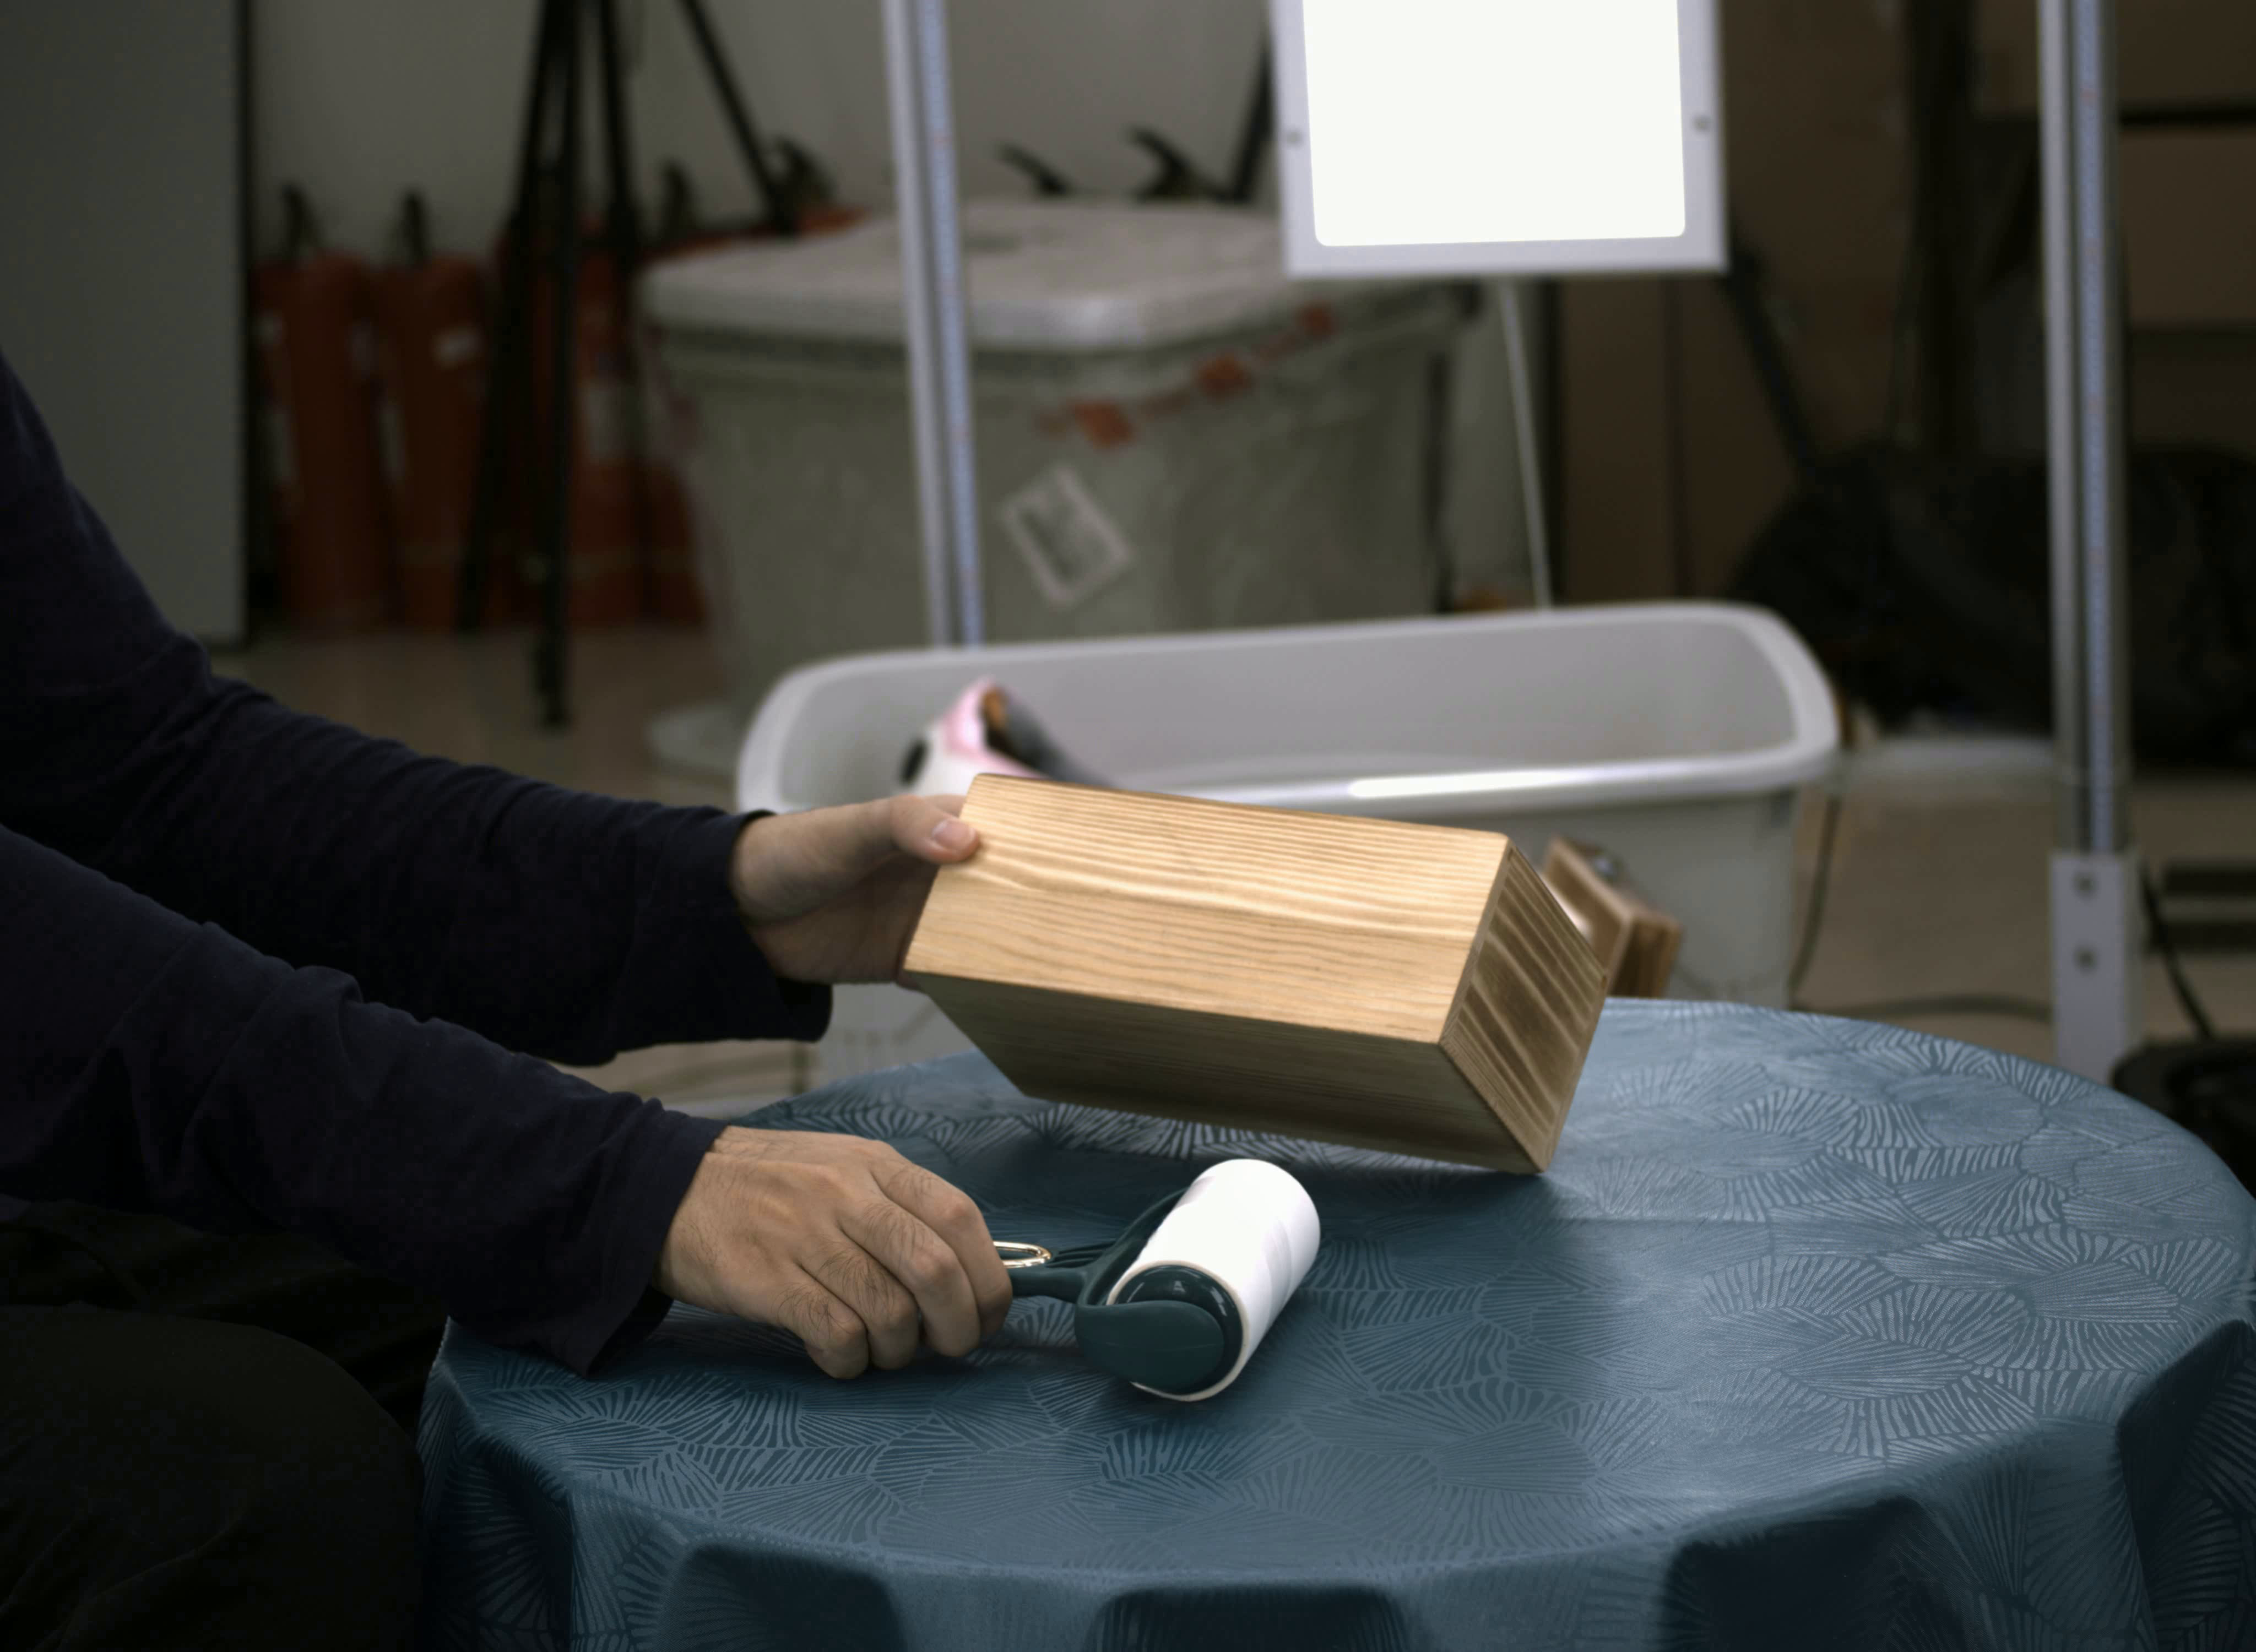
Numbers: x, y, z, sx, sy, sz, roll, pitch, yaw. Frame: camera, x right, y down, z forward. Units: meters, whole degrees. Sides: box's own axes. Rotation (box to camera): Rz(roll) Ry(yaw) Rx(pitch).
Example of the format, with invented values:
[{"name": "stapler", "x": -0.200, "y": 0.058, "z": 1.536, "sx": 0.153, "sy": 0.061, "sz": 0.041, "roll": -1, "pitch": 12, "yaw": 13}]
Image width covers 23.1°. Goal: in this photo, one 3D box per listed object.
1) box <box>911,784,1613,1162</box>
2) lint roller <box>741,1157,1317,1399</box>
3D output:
[{"name": "box", "x": 0.047, "y": 0.050, "z": 1.907, "sx": 0.215, "sy": 0.080, "sz": 0.106, "roll": 5, "pitch": -24, "yaw": 31}, {"name": "lint roller", "x": -0.037, "y": 0.138, "z": 1.747, "sx": 0.182, "sy": 0.048, "sz": 0.132, "roll": 2, "pitch": 16, "yaw": 16}]
